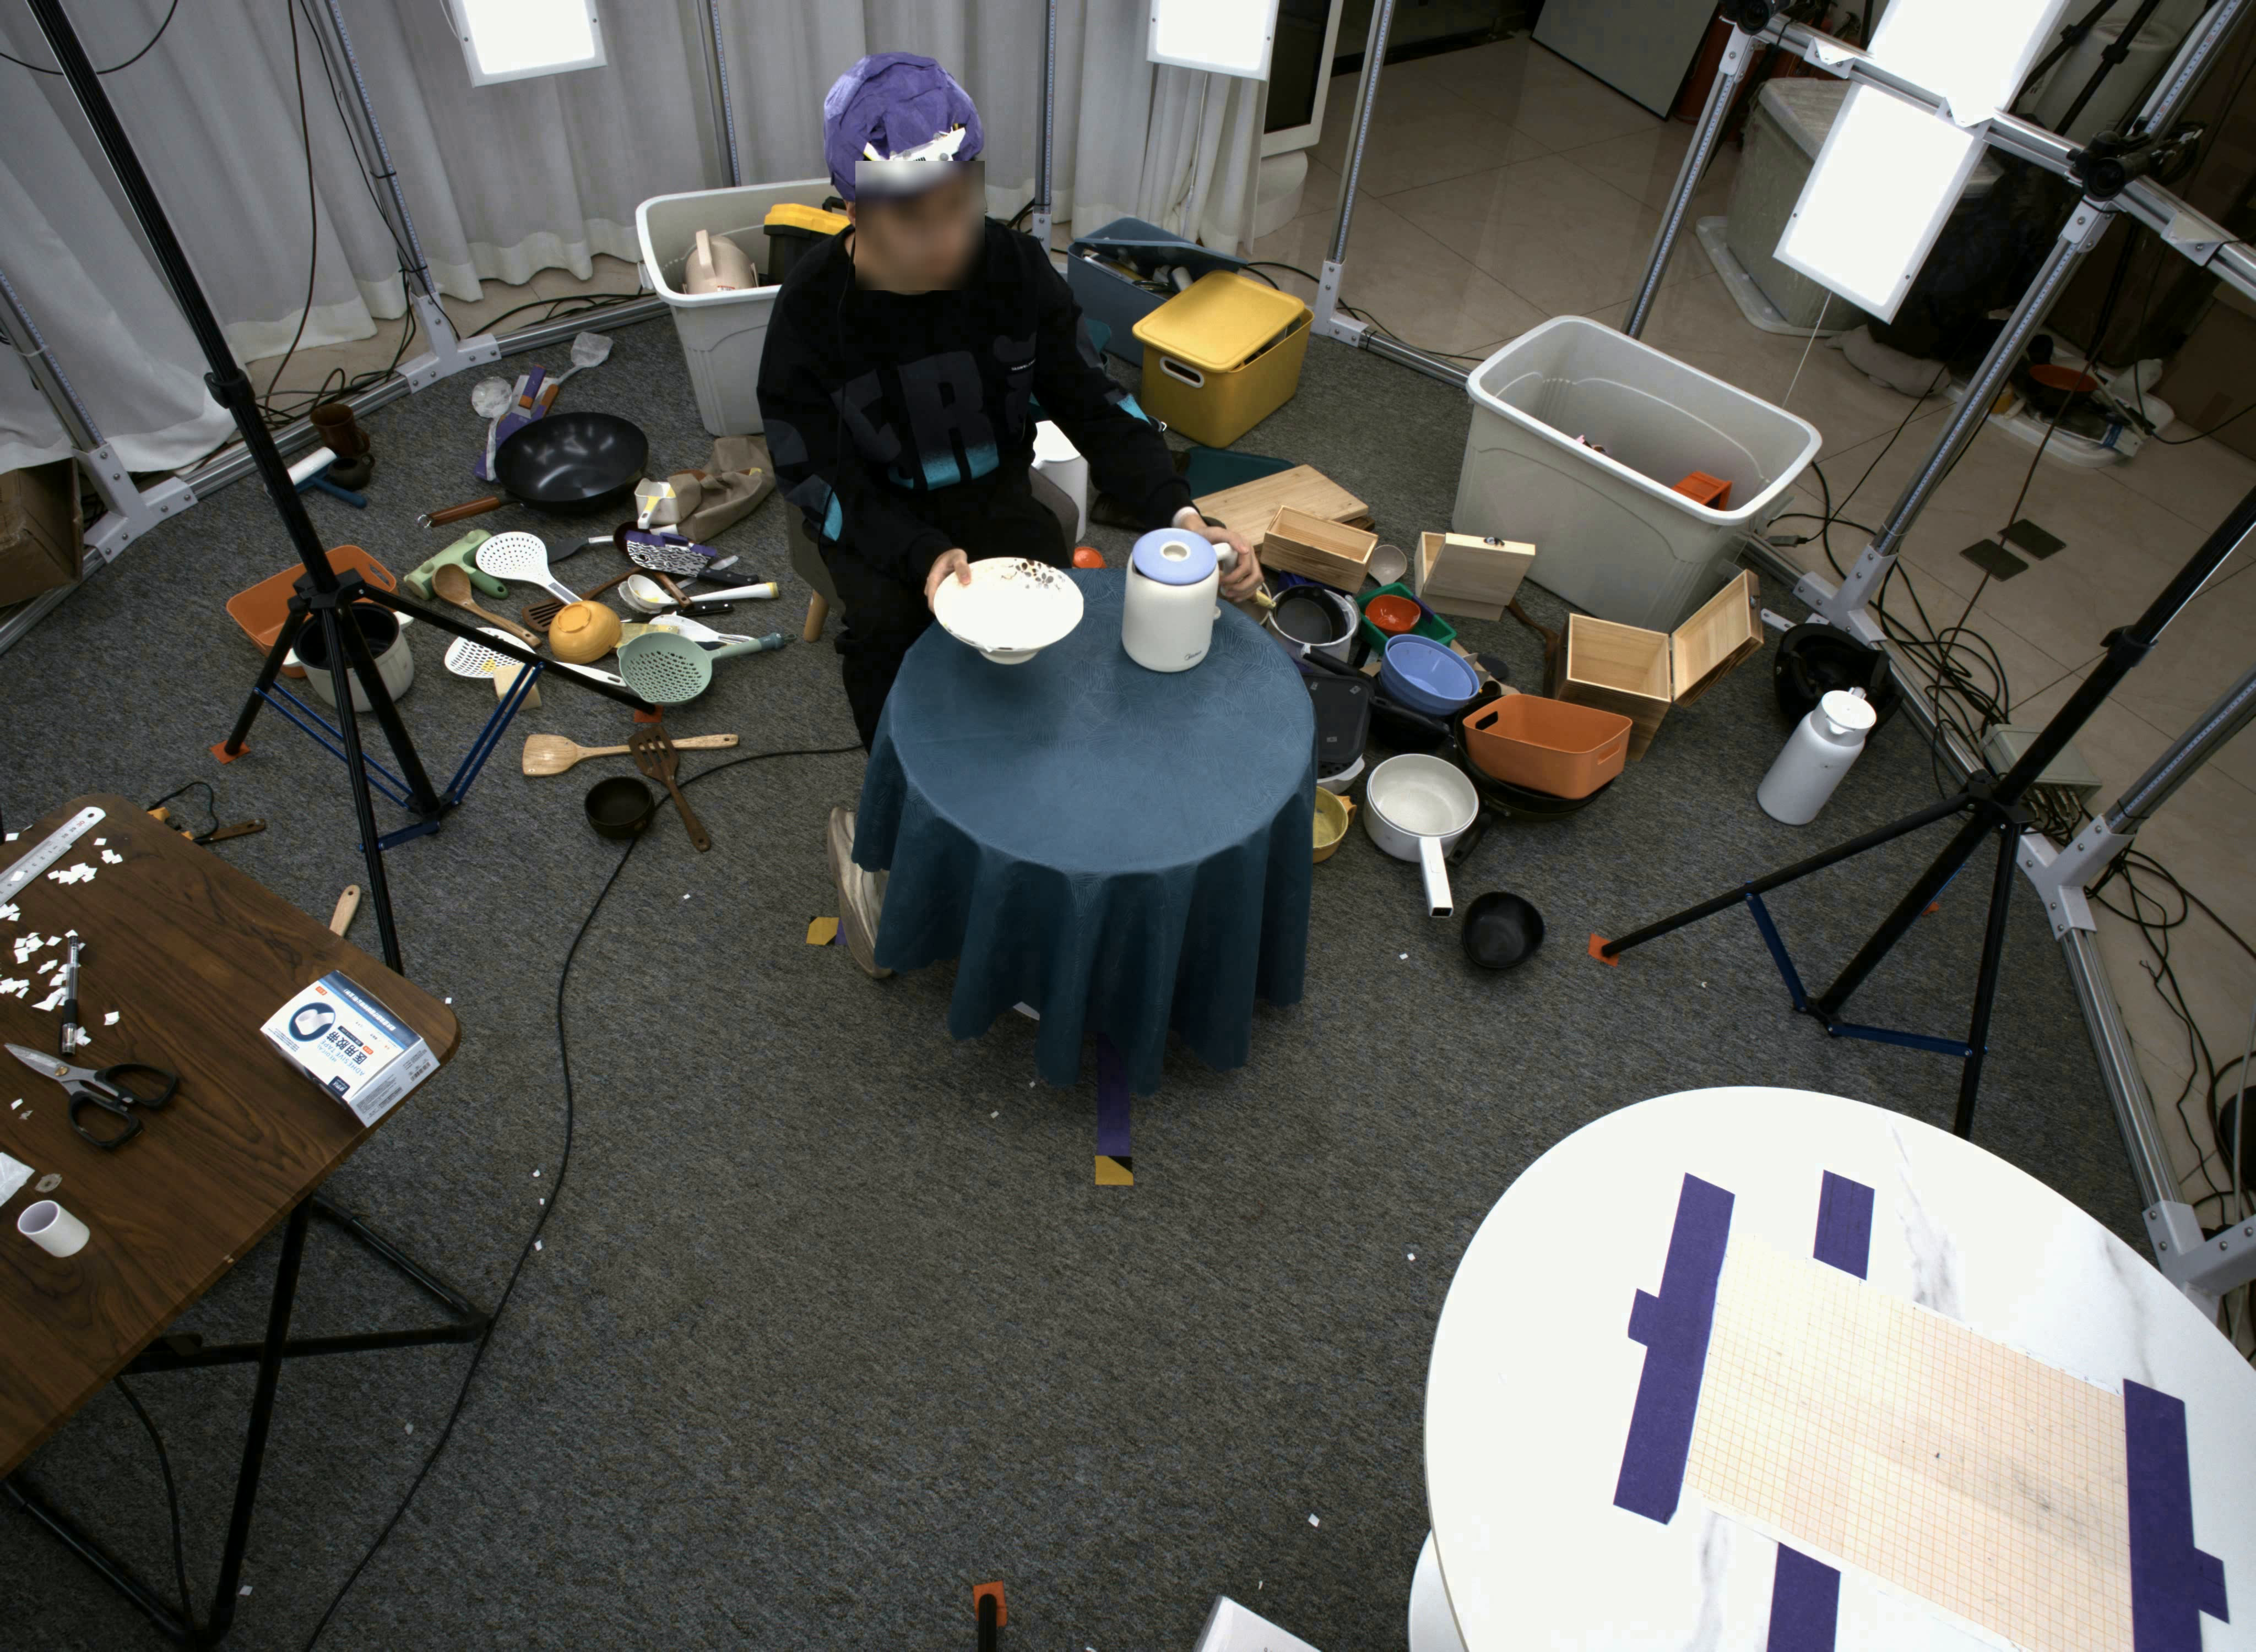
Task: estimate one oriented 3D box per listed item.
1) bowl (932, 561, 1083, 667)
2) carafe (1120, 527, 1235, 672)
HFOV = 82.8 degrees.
[{"bbox_3d":[-0.165,-0.277,1.776,0.204,0.076,0.209,2,44,-2],"label":"bowl"},{"bbox_3d":[0.079,-0.334,1.853,0.192,0.178,0.134,-26,57,-27],"label":"carafe"}]
